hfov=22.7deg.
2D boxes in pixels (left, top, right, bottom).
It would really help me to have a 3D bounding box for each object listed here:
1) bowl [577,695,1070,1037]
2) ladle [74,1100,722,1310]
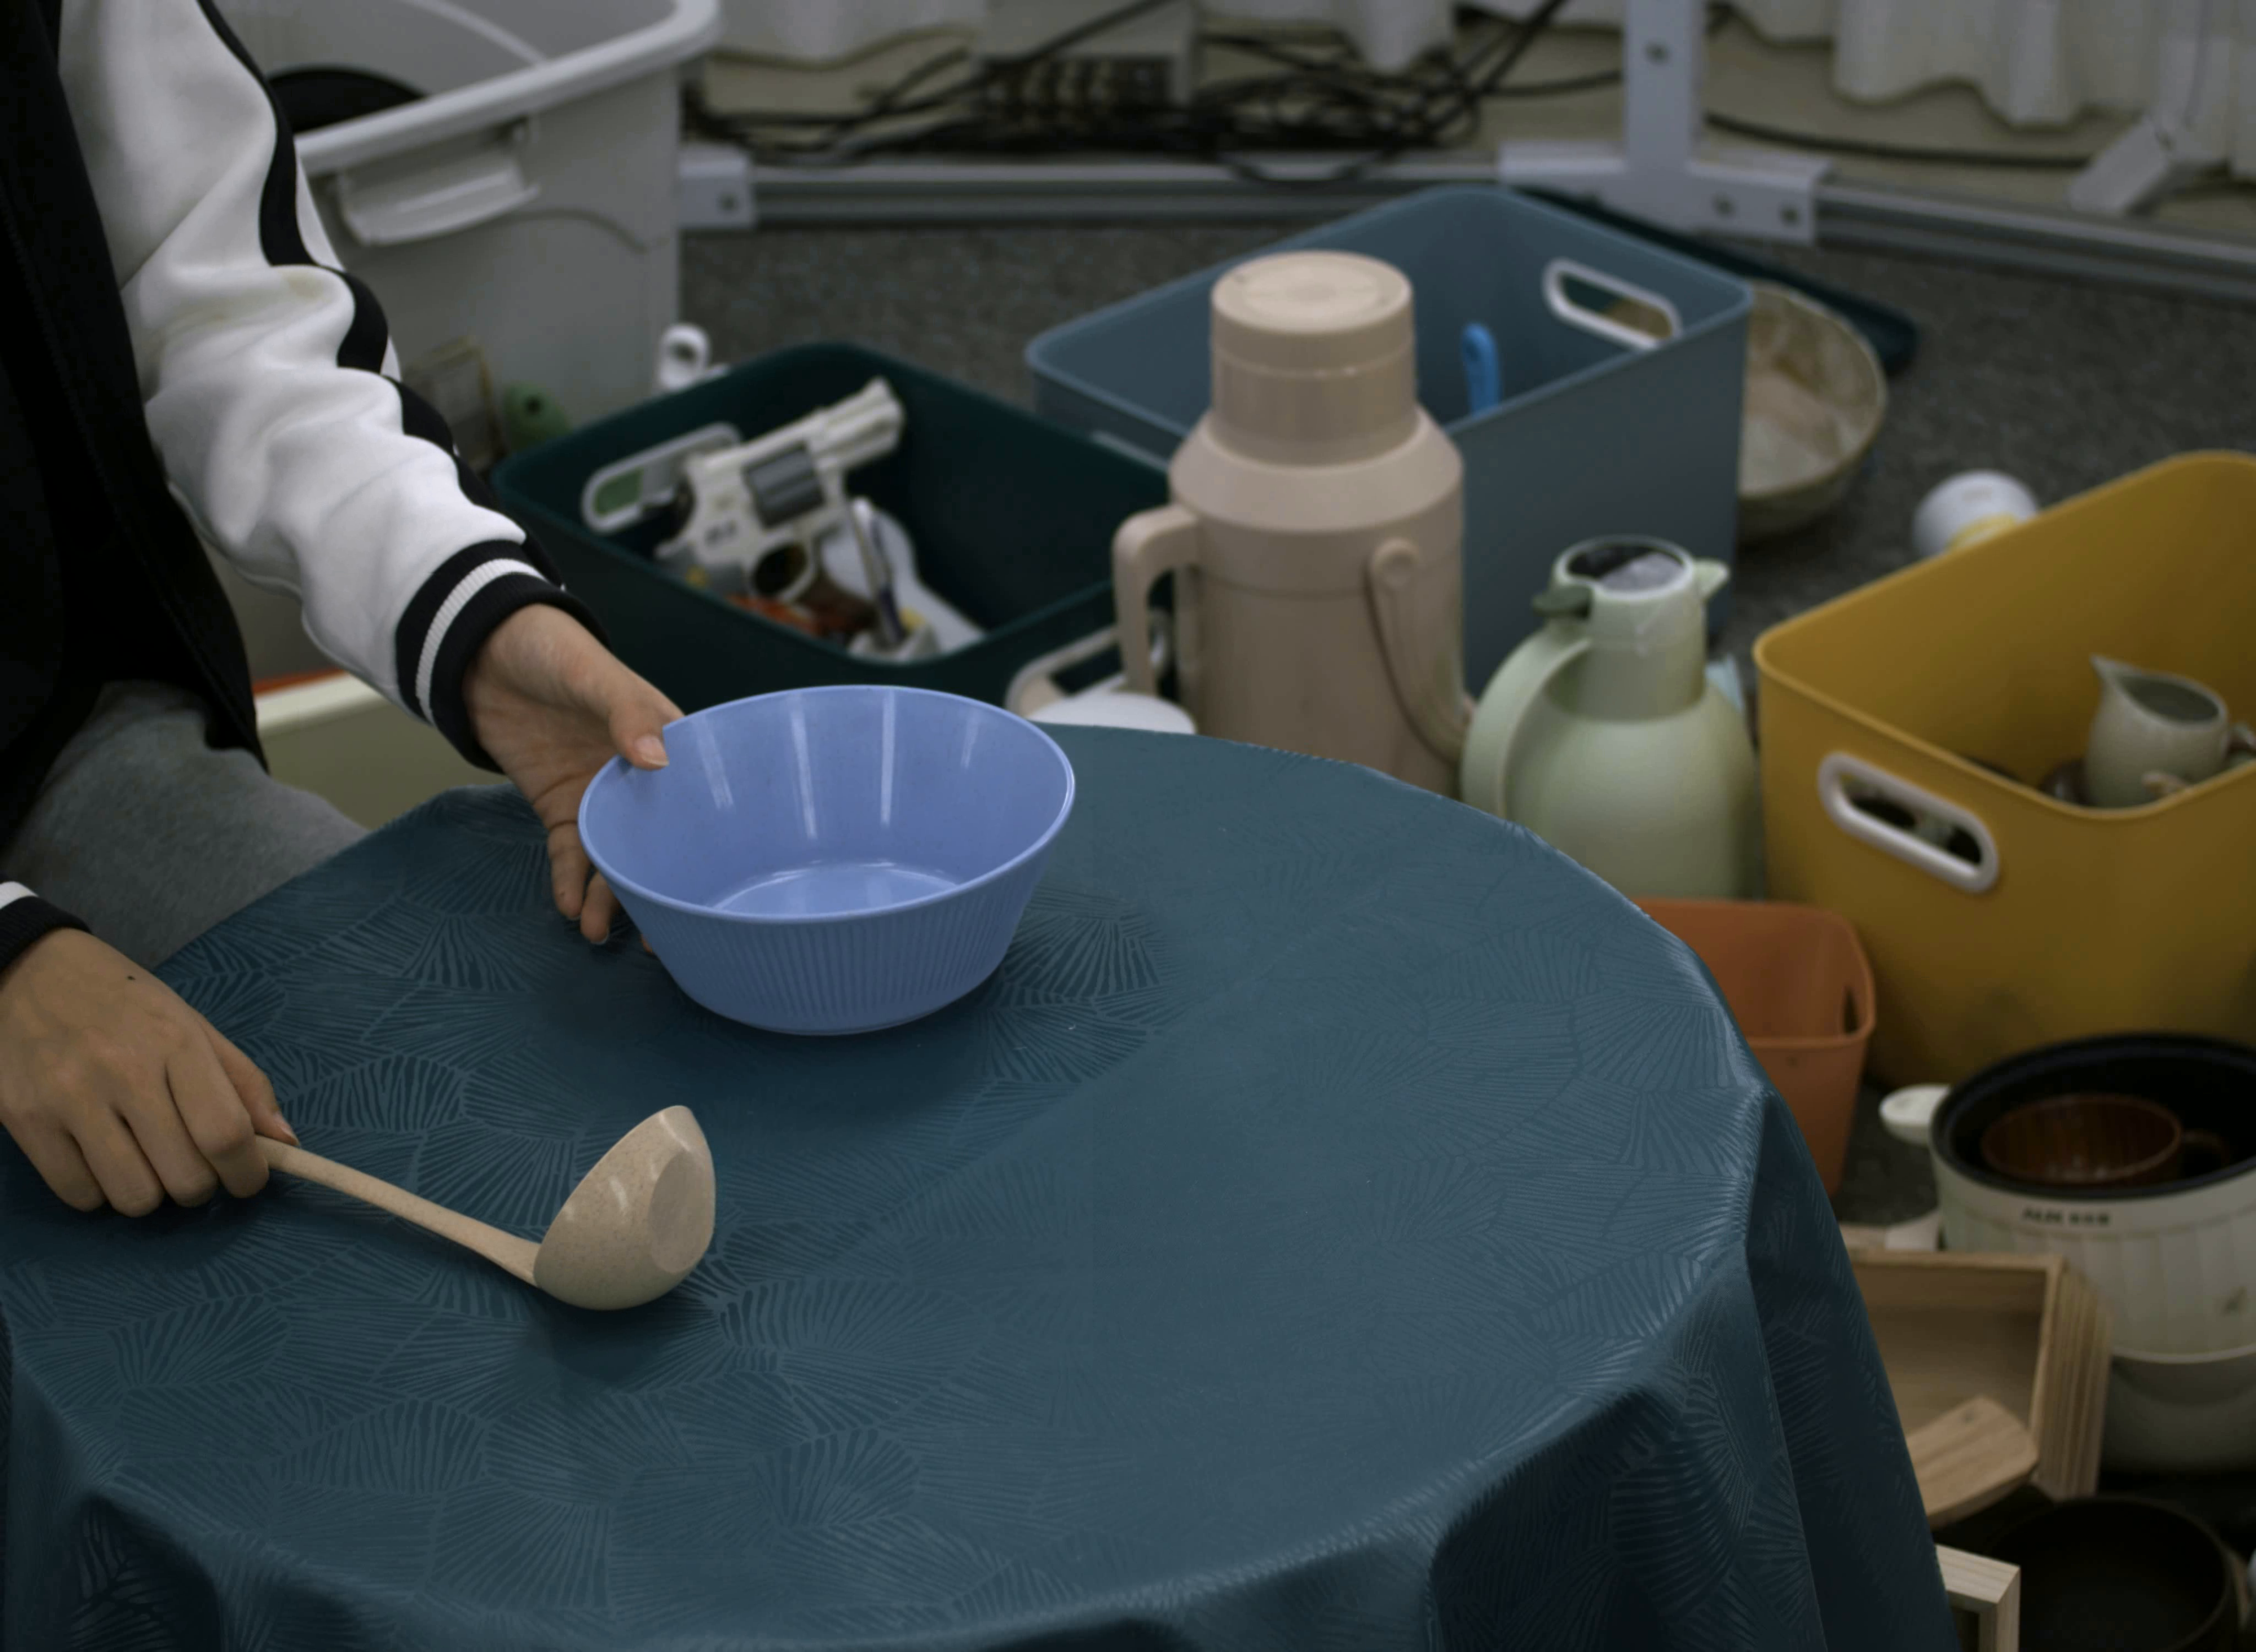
[{"bbox_3d":[-0.106,0.020,1.994,0.175,0.069,0.178,-2,26,1],"label":"bowl"},{"bbox_3d":[-0.248,0.099,1.846,0.253,0.072,0.073,14,24,27],"label":"ladle"}]
